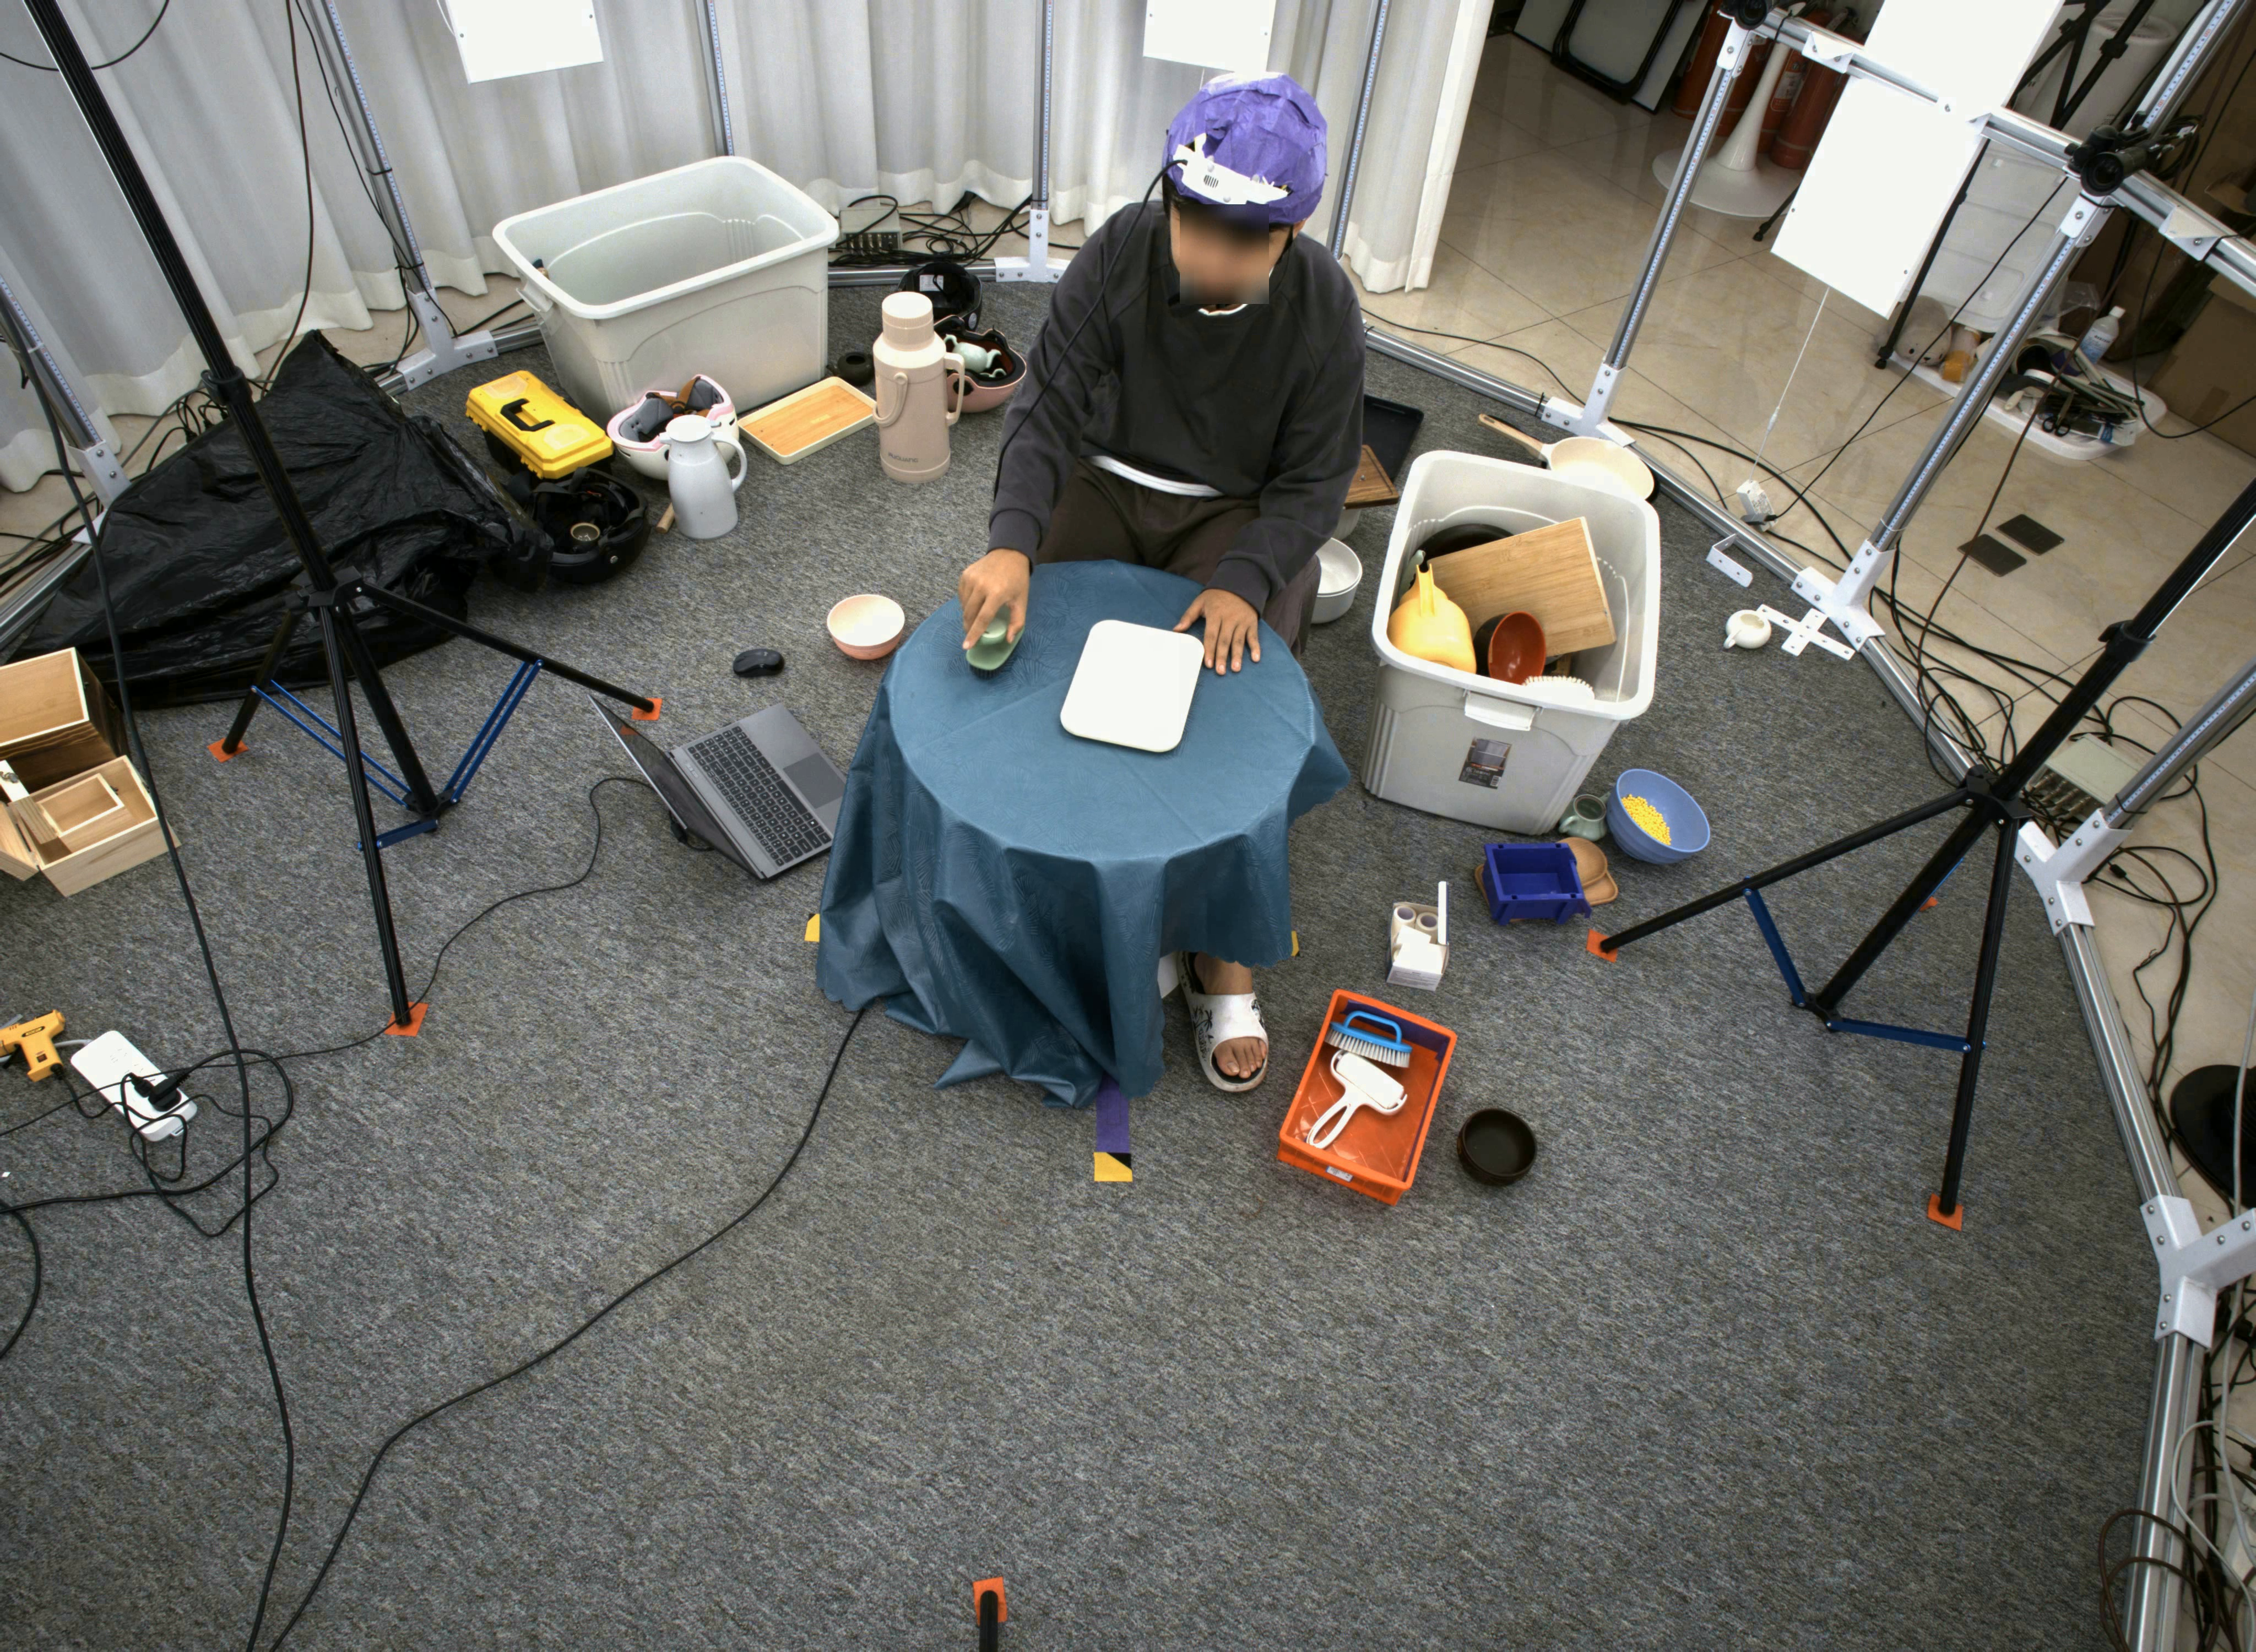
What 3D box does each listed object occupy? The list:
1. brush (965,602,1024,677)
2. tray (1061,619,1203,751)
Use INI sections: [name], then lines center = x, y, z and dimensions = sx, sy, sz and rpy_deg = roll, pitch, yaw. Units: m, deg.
[brush]
center = -0.191, -0.268, 1.843
dimensions = 0.060, 0.074, 0.125
rpy_deg = 19, 38, 8
[tray]
center = 0.008, -0.202, 1.829
dimensions = 0.171, 0.017, 0.245
rpy_deg = 12, 49, 5
